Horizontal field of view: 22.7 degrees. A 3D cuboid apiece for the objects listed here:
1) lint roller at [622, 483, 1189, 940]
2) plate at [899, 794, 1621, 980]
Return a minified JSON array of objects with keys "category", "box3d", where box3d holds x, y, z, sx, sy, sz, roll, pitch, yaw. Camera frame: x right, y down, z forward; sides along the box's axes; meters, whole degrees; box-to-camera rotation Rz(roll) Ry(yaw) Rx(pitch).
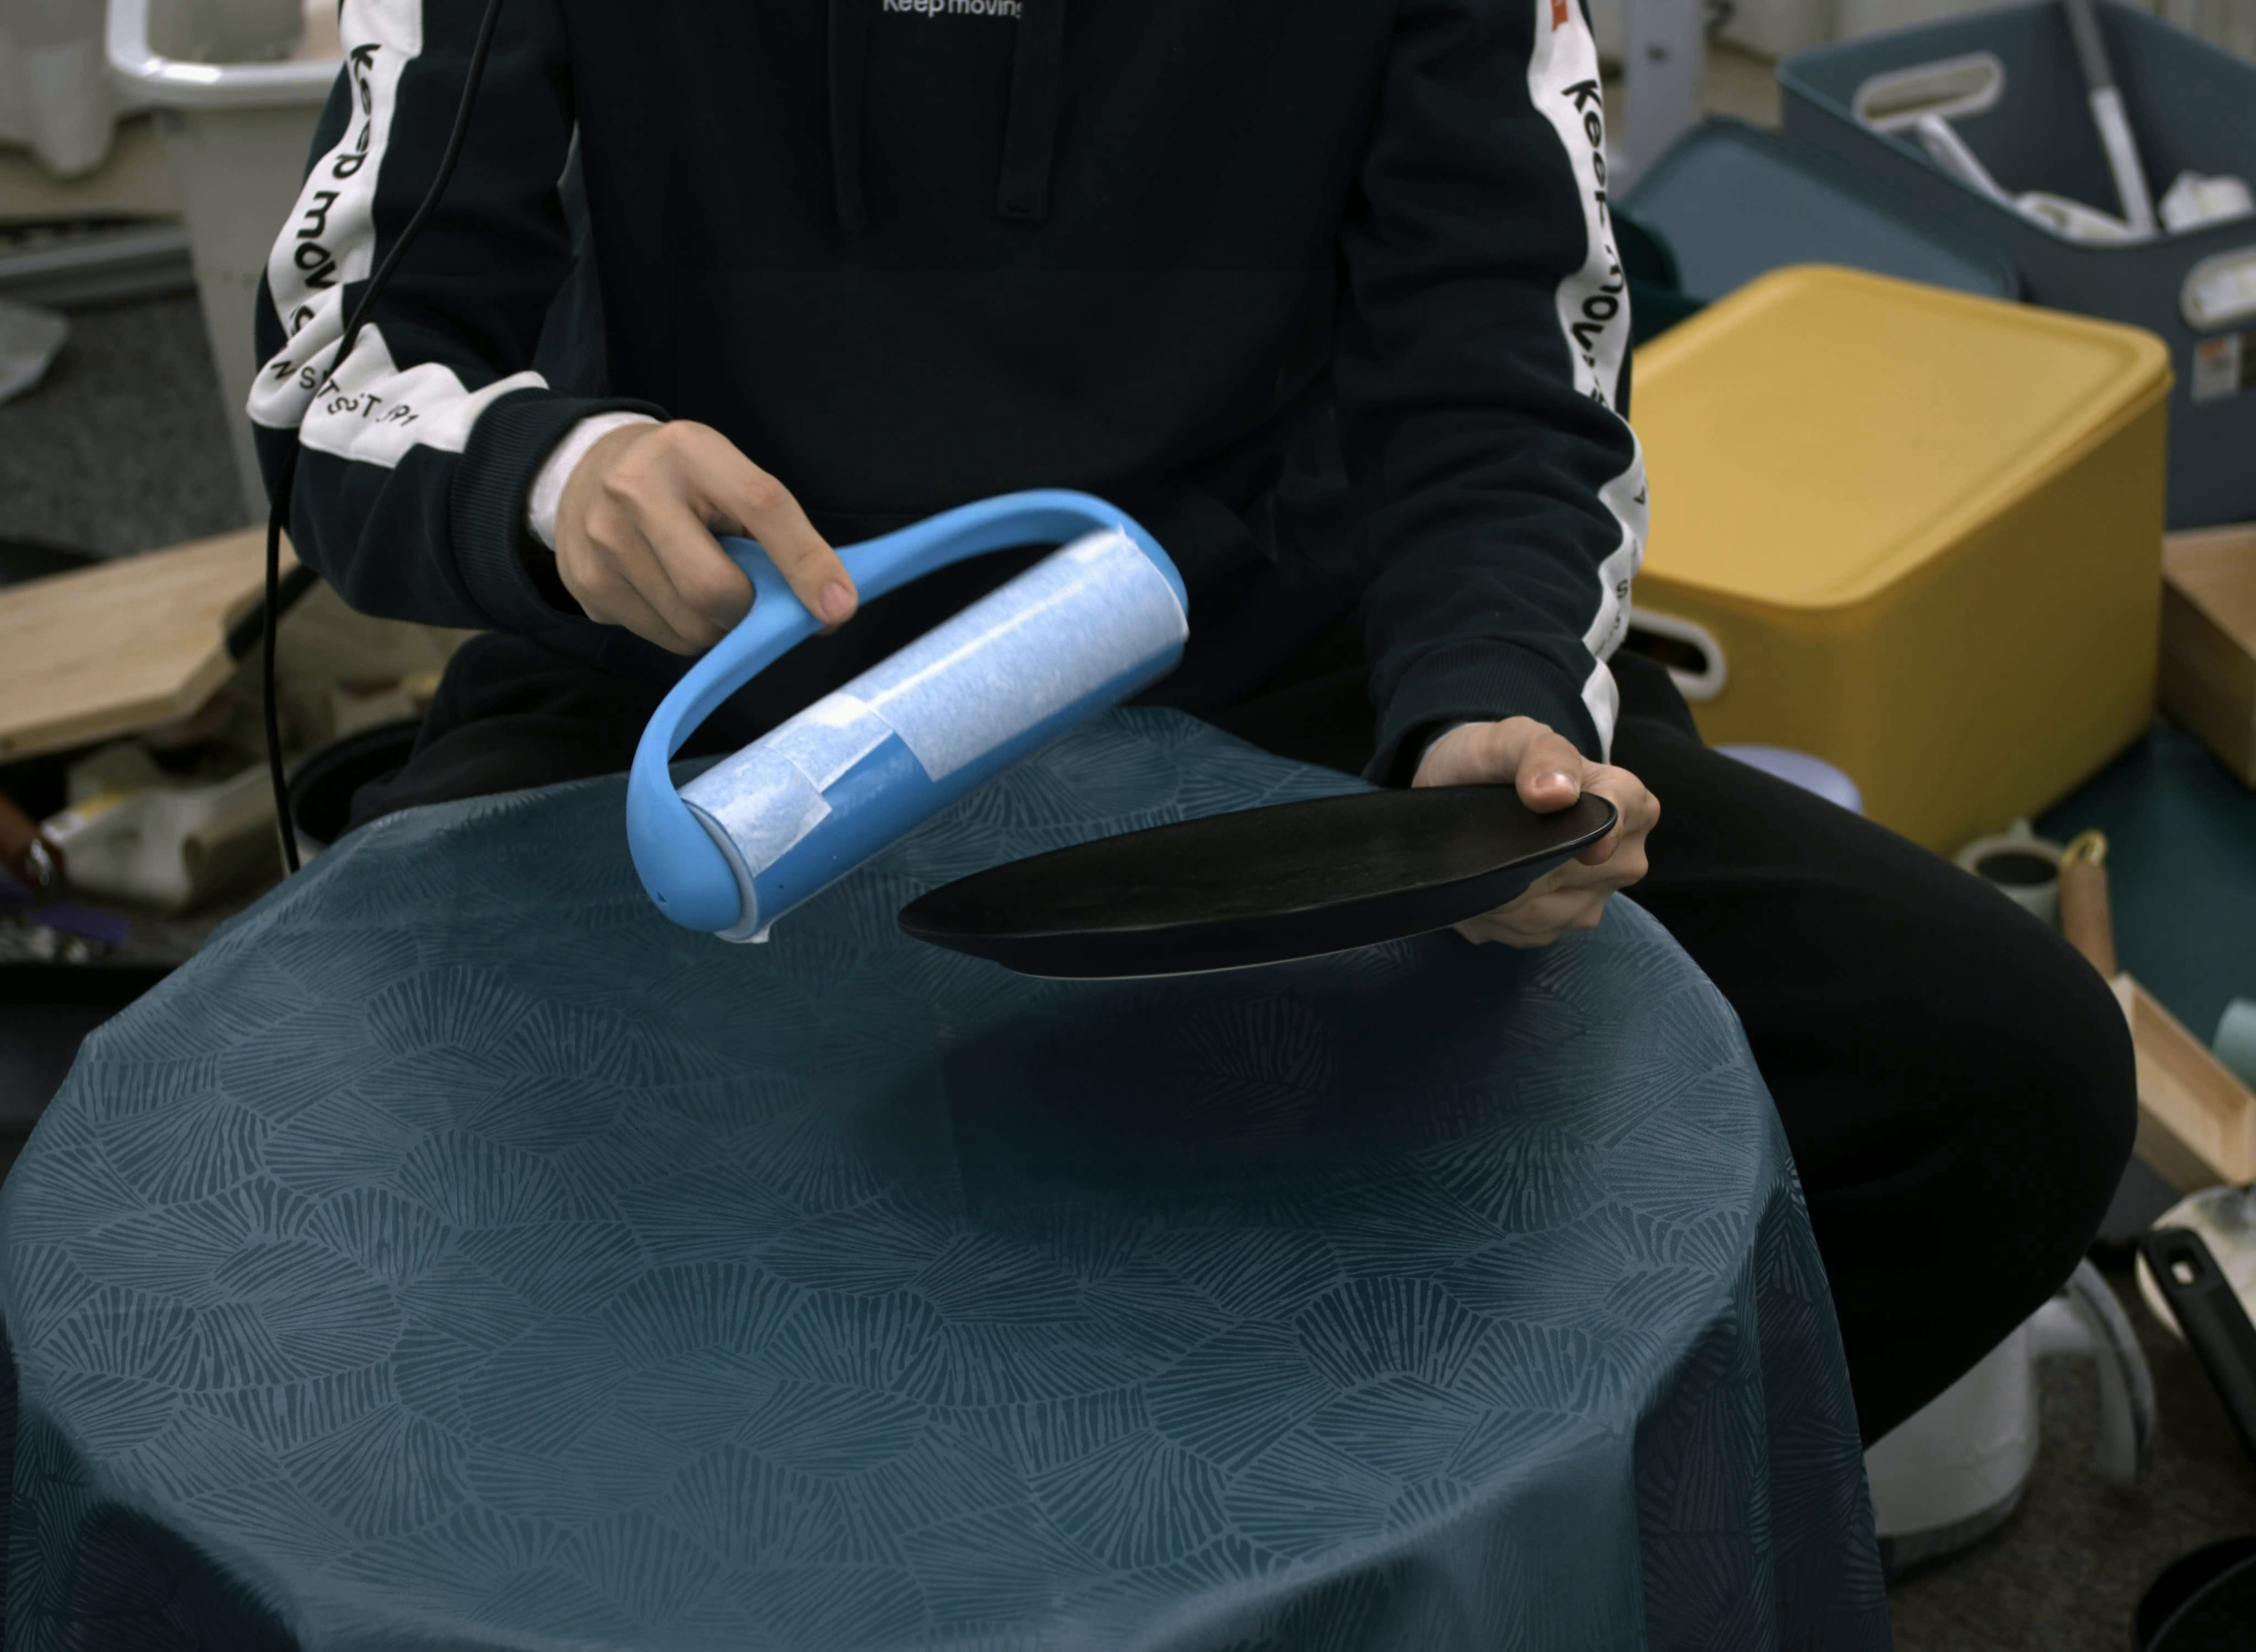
[{"category":"lint roller","box3d":[-0.109,-0.059,1.890,0.180,0.067,0.232,29,51,31]},{"category":"plate","box3d":[0.045,0.021,1.874,0.243,0.023,0.245,-8,7,1]}]
